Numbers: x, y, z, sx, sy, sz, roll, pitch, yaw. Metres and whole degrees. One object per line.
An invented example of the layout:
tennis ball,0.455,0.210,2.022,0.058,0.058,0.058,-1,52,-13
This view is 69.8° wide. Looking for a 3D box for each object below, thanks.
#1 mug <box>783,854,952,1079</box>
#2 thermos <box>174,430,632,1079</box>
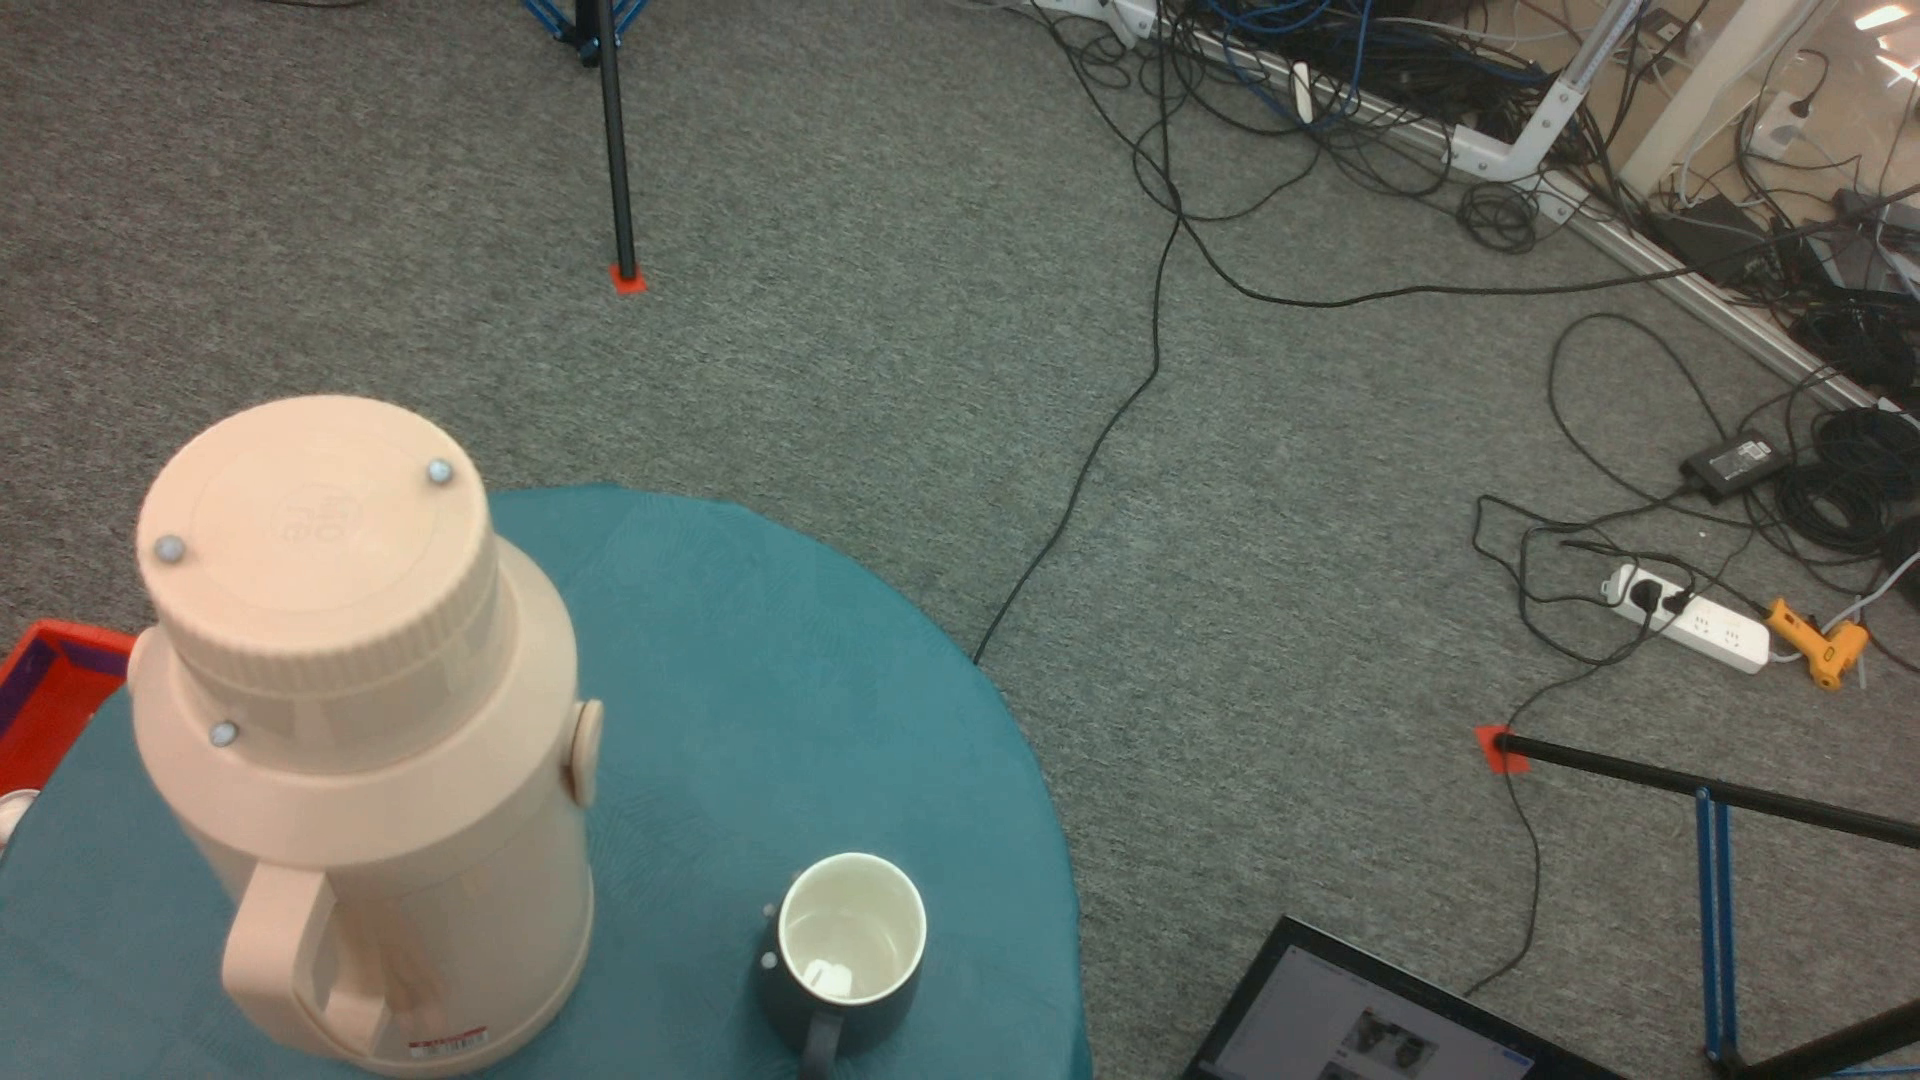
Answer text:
mug,-0.053,0.243,0.762,0.093,0.089,0.124,15,53,-1
thermos,-0.240,0.129,0.616,0.175,0.404,0.208,8,53,-6
